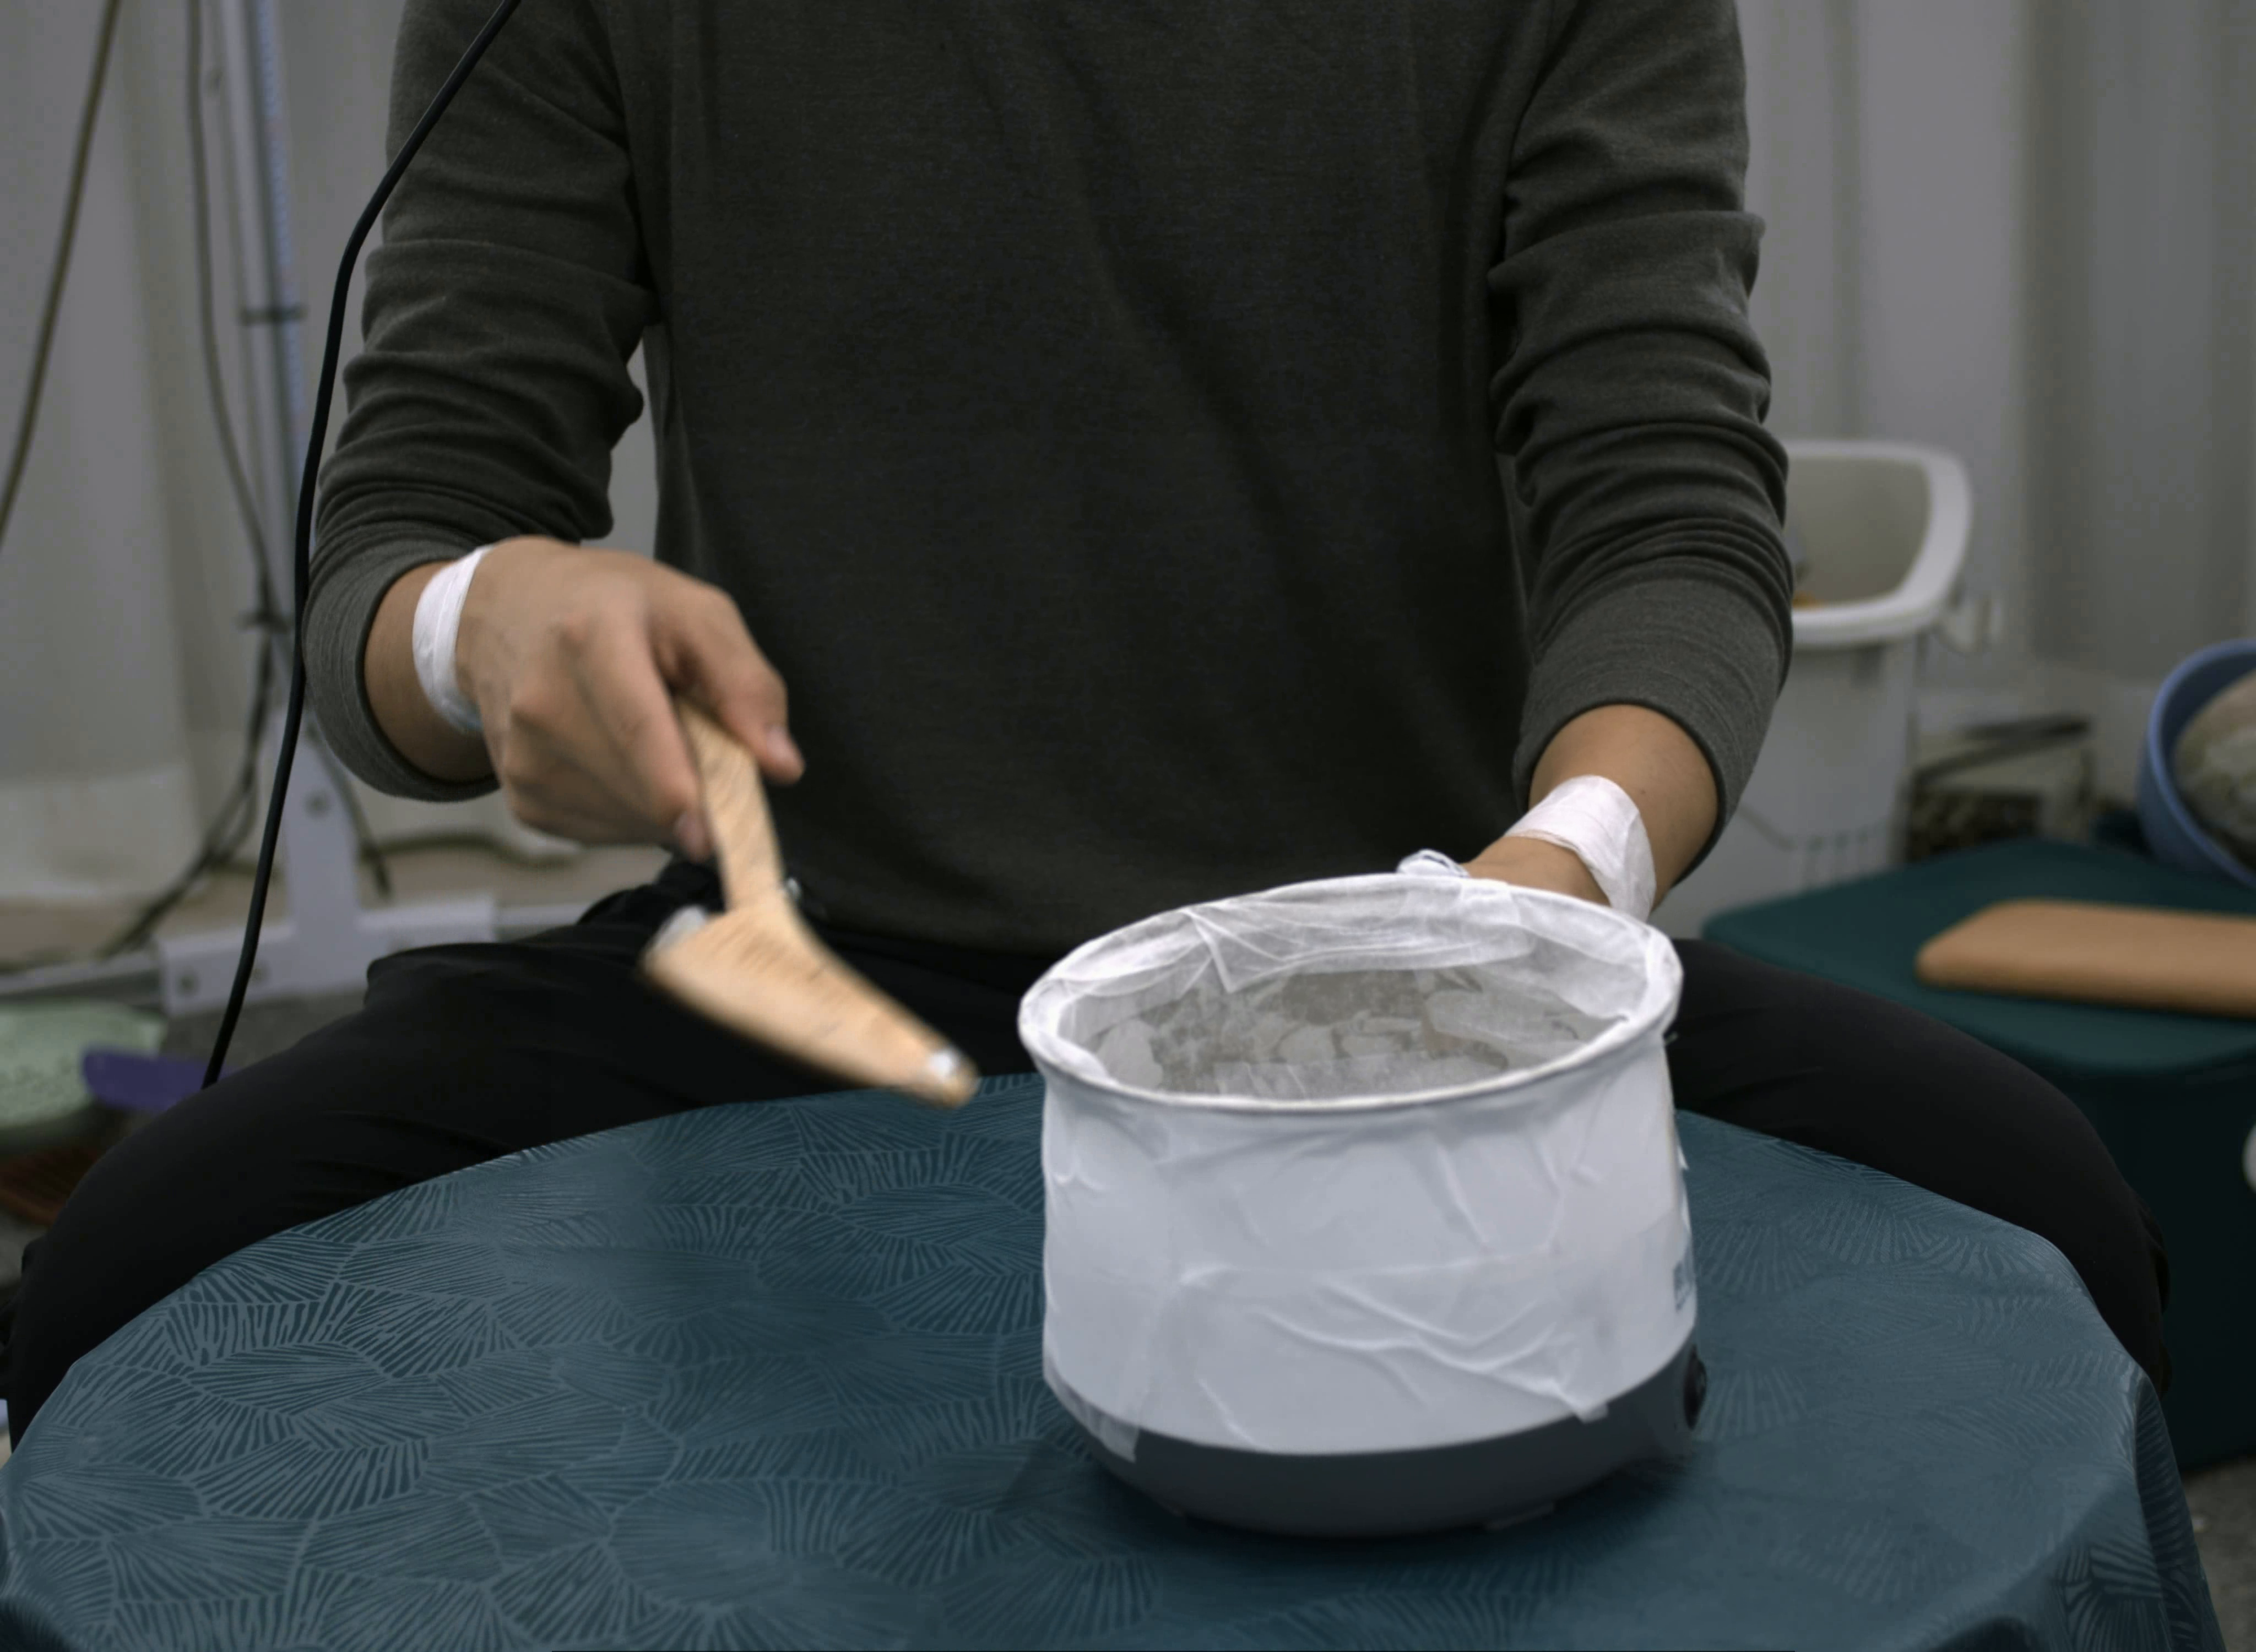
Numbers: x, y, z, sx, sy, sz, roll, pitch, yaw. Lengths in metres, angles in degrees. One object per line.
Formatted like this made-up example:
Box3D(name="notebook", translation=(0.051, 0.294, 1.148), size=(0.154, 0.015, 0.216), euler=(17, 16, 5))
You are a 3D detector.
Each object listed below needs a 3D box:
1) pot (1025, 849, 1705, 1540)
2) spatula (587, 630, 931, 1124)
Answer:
Box3D(name="pot", translation=(0.071, 0.094, 1.496), size=(0.178, 0.136, 0.235), euler=(1, 18, 15))
Box3D(name="spatula", translation=(-0.118, 0.002, 1.532), size=(0.095, 0.018, 0.394), euler=(25, 14, -16))
